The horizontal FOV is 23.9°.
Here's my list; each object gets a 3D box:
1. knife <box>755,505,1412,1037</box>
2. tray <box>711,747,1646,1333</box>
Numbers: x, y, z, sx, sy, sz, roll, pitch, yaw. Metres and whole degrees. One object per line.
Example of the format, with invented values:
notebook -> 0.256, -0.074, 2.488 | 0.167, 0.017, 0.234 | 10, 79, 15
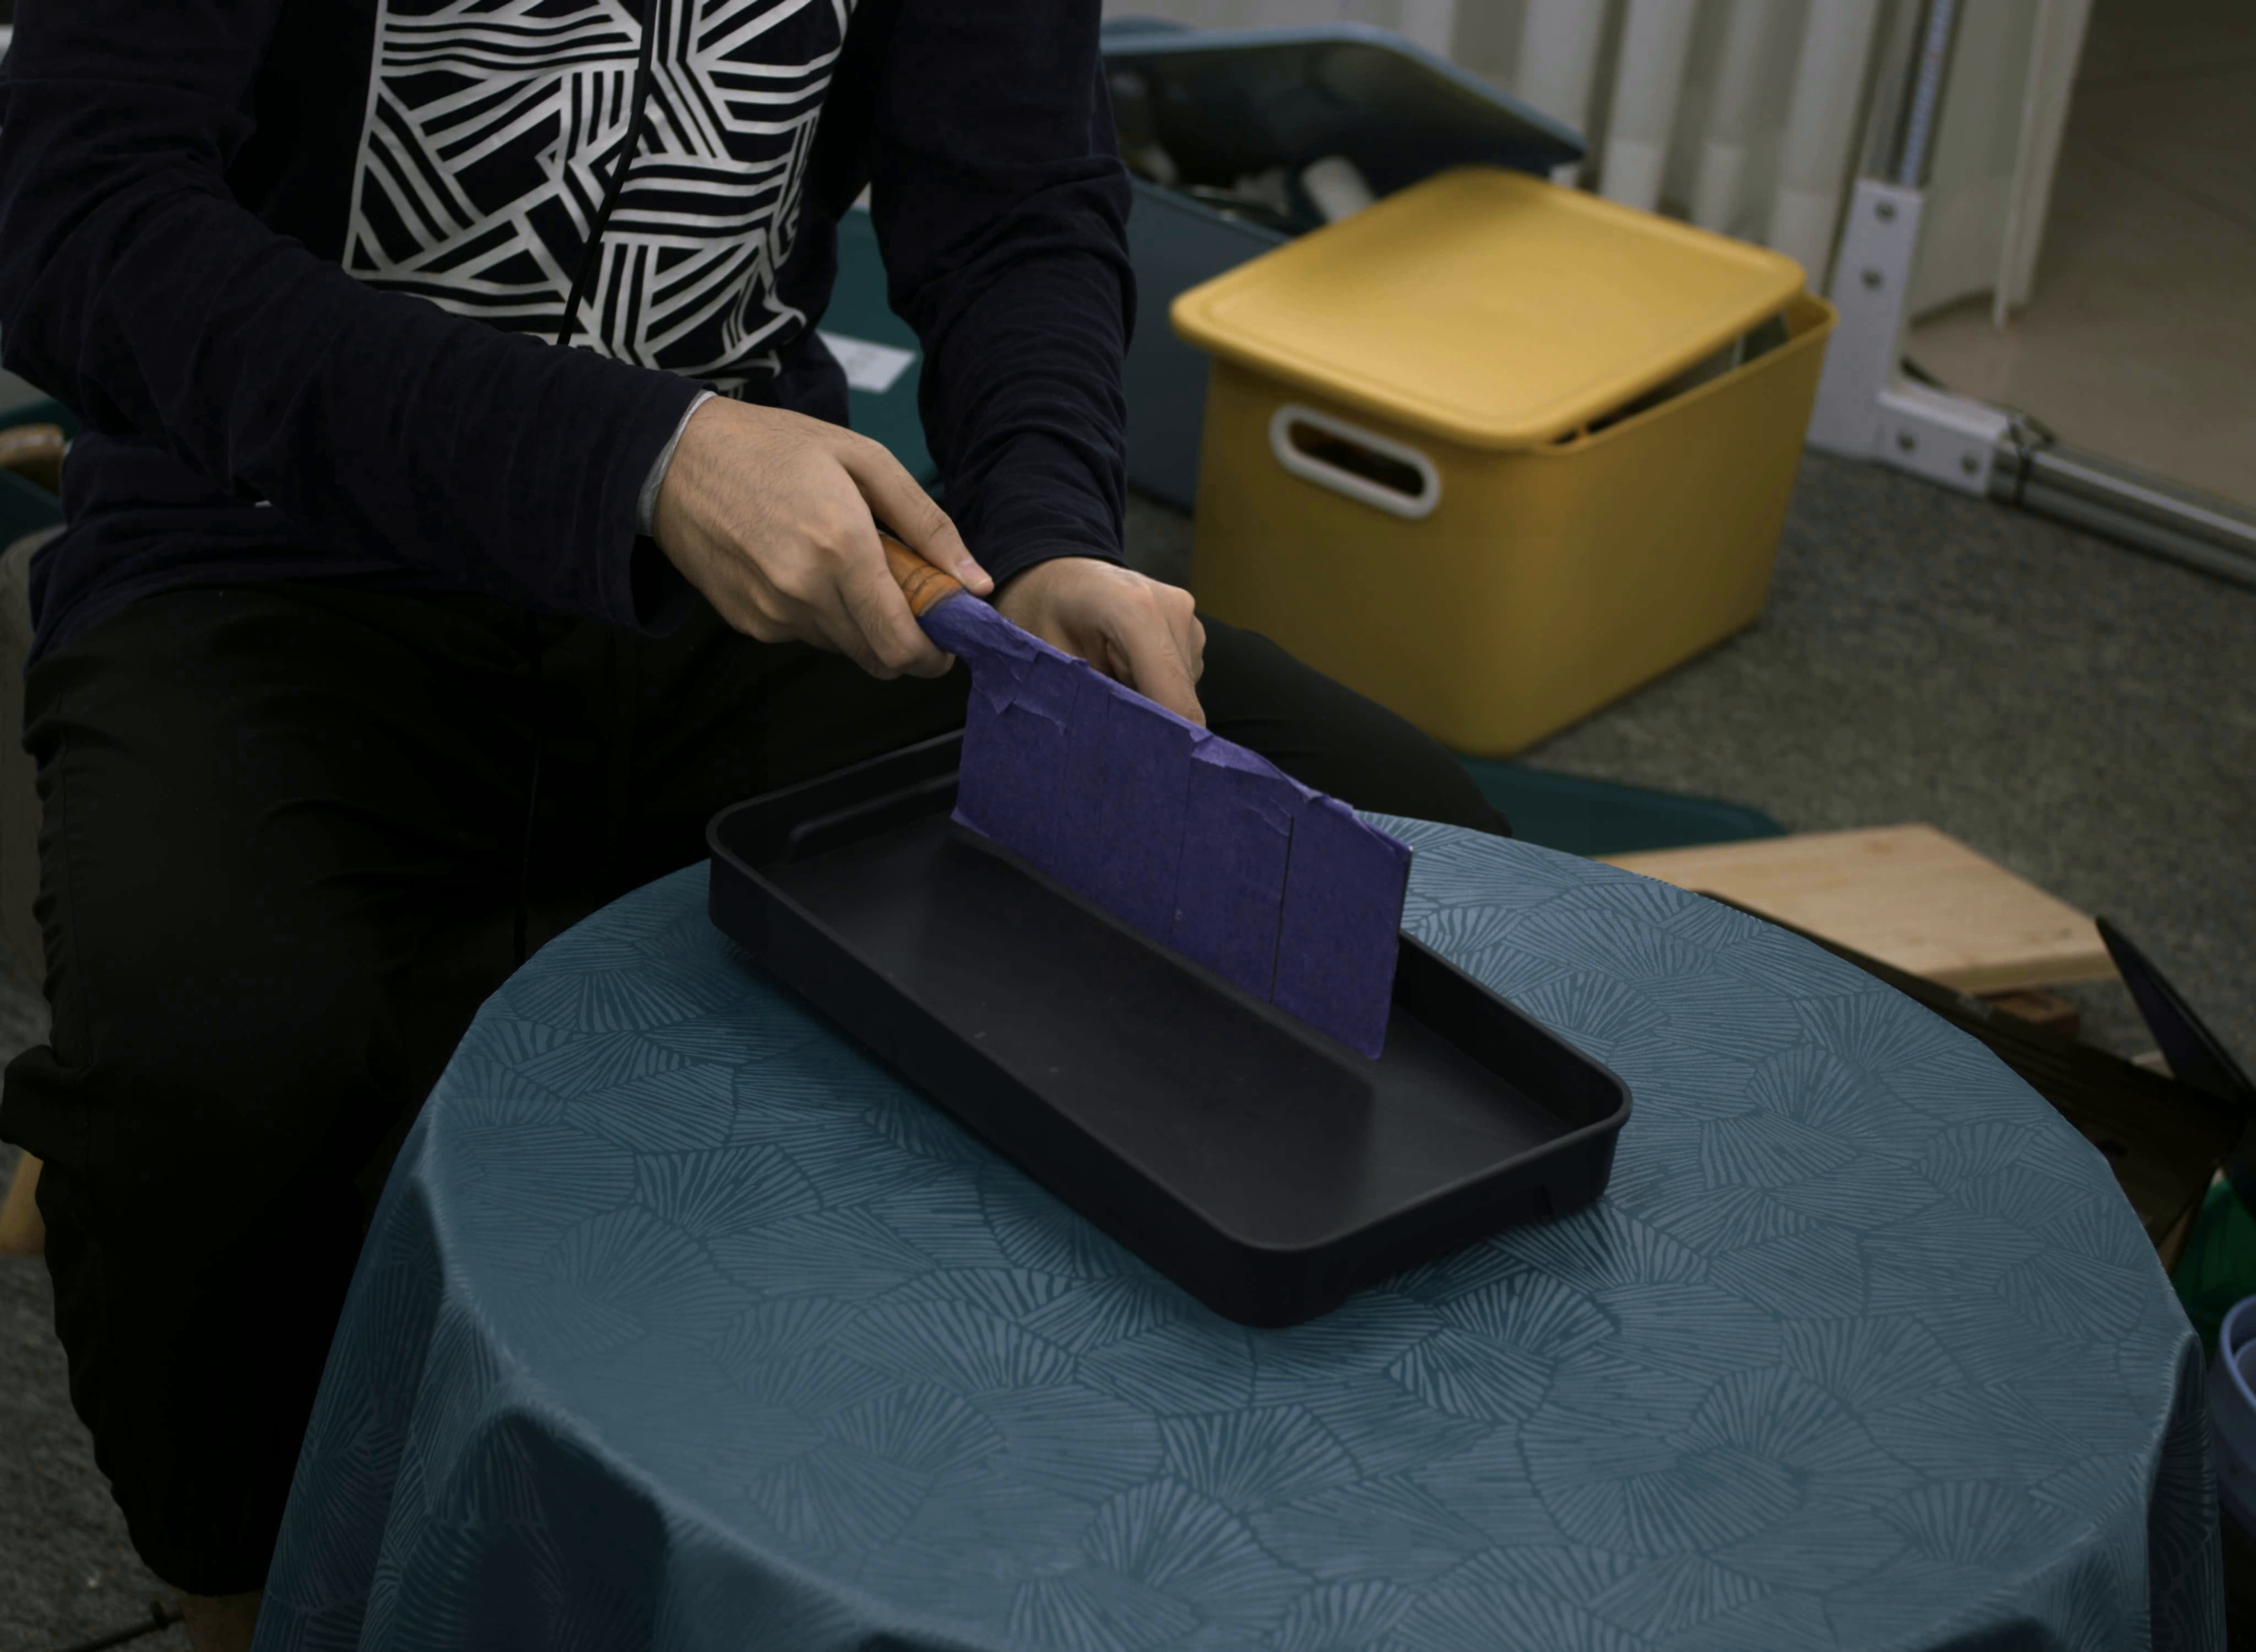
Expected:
knife -> -0.023, -0.018, 1.922 | 0.317, 0.103, 0.032 | 30, 34, 35
tray -> 0.013, 0.064, 1.868 | 0.183, 0.037, 0.320 | -20, 39, -37
